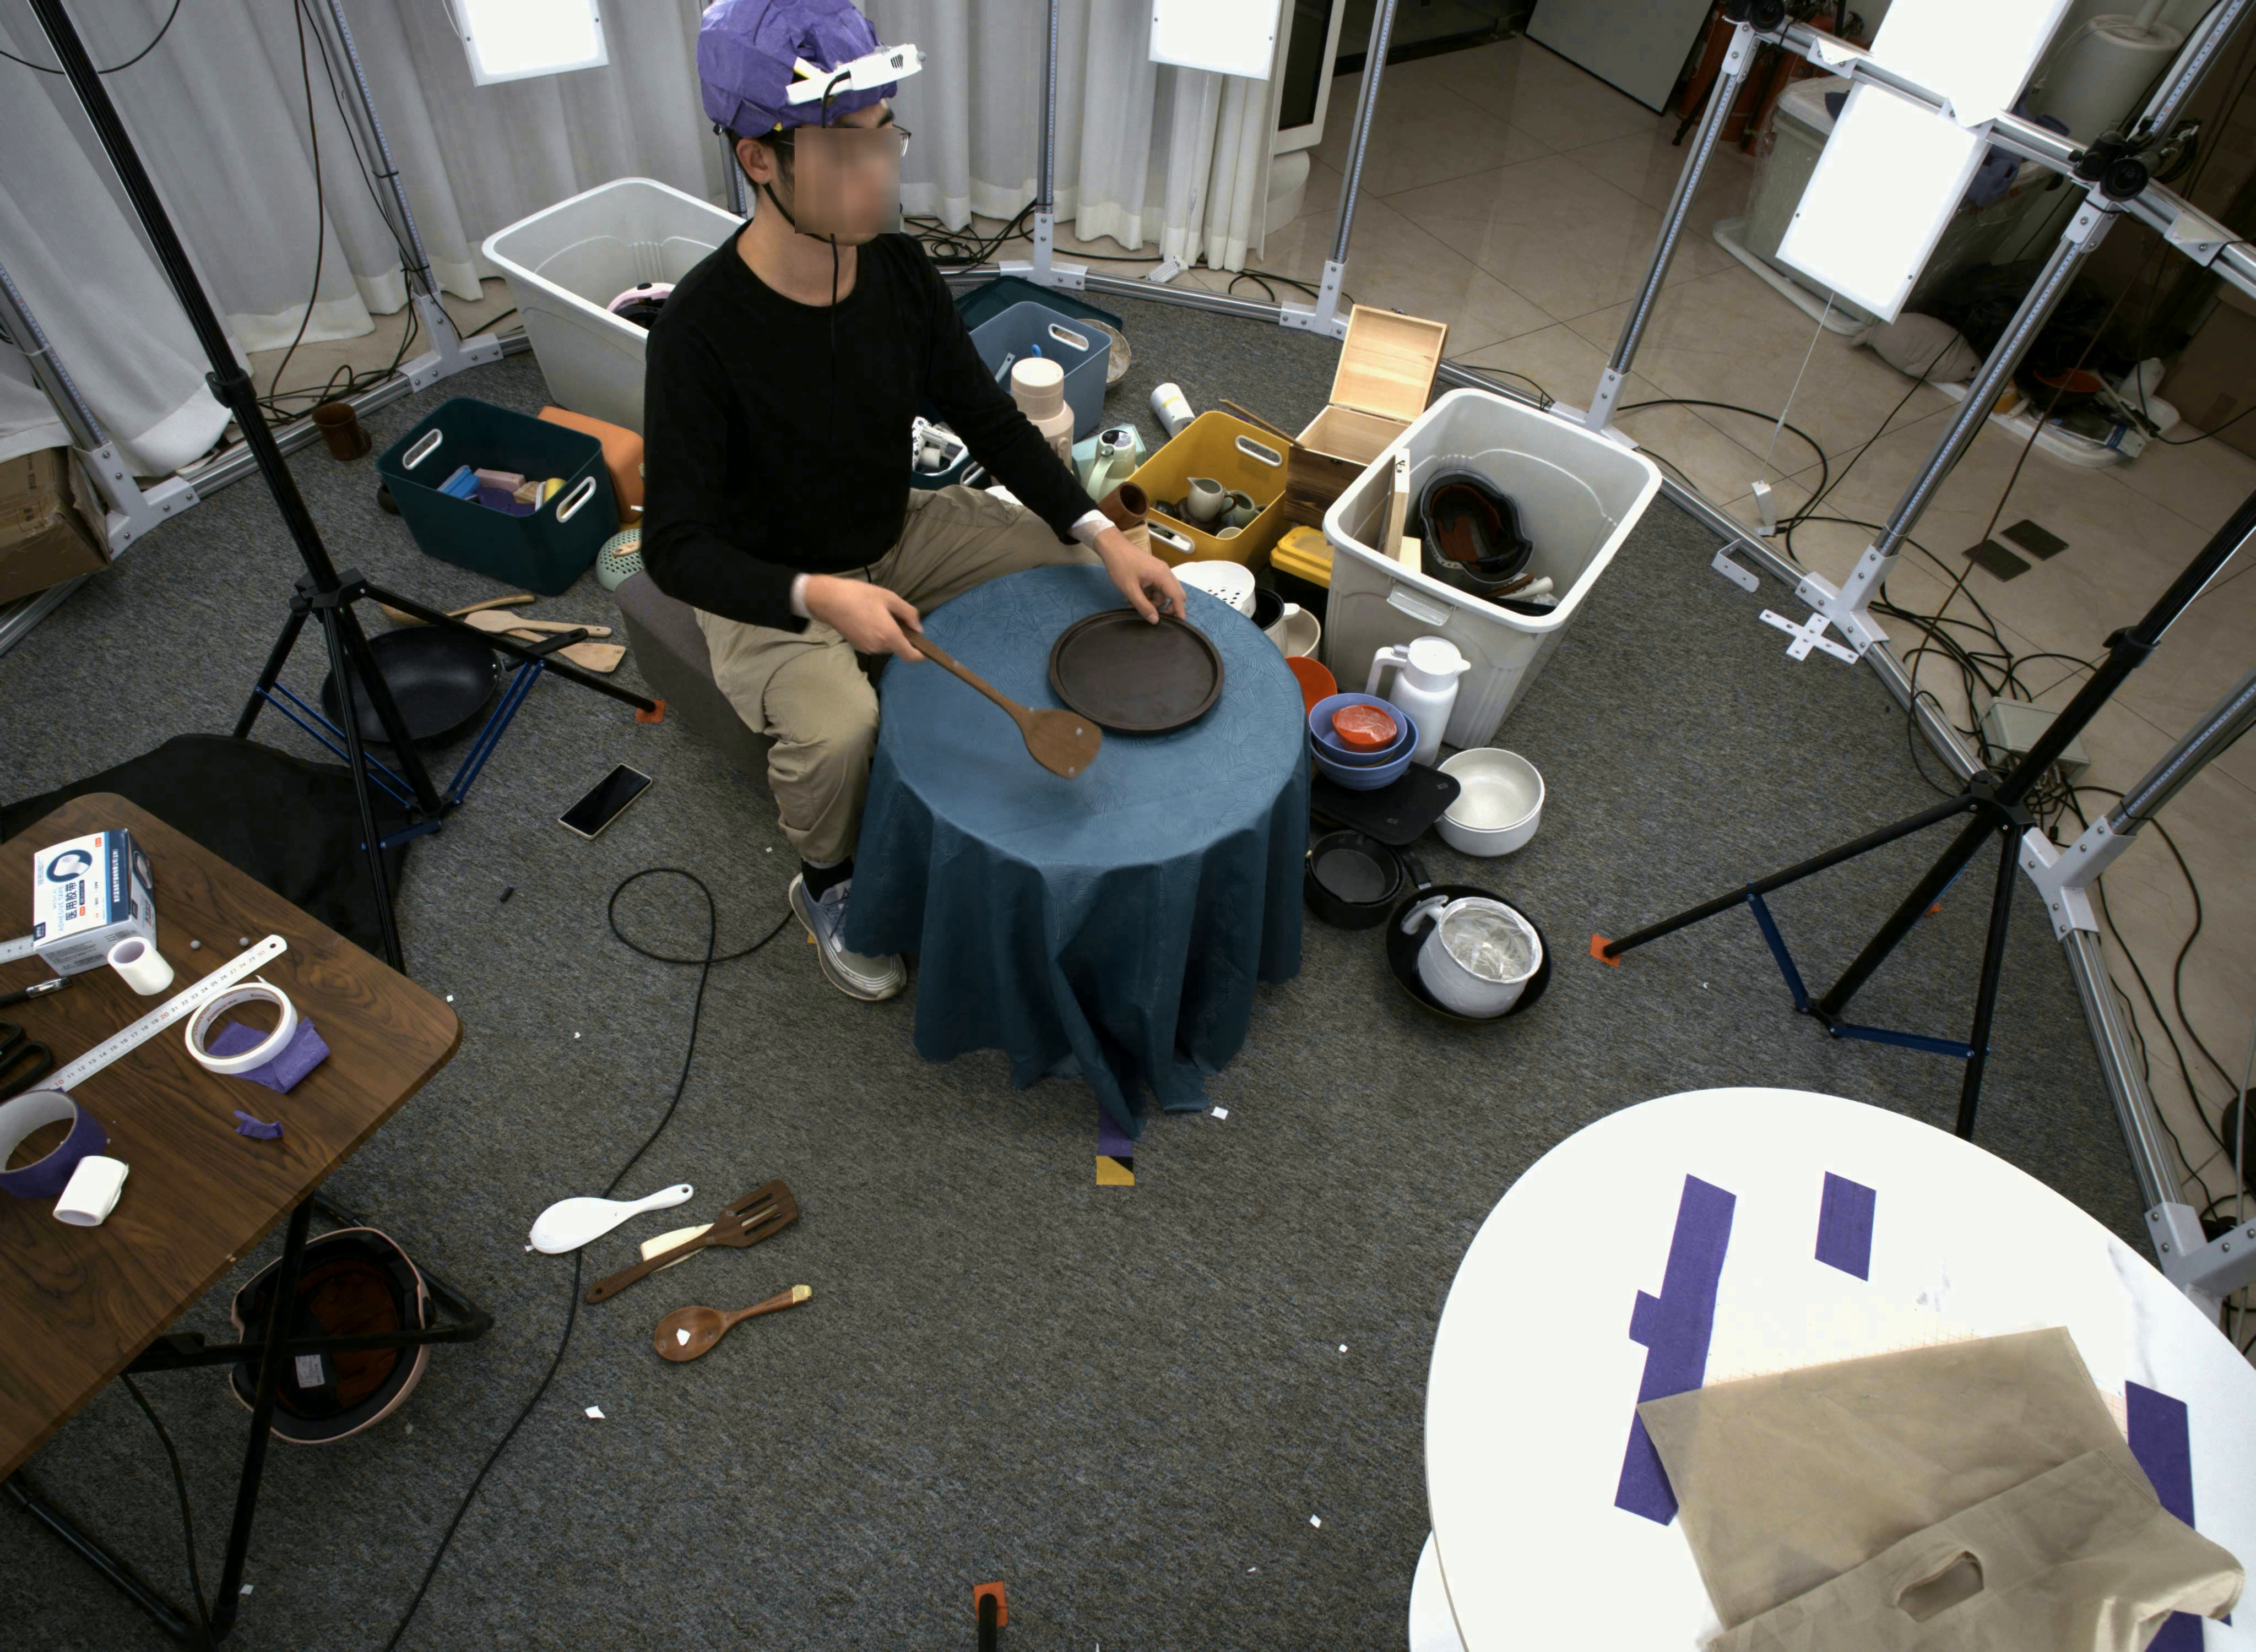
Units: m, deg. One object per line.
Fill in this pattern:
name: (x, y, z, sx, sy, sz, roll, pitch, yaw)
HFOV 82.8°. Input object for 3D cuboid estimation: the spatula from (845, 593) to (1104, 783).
spatula: (-0.202, -0.187, 1.656, 0.386, 0.015, 0.097, 35, 60, 0)

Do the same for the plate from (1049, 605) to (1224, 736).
plate: (0.012, -0.223, 1.848, 0.254, 0.028, 0.261, 1, 50, -2)
